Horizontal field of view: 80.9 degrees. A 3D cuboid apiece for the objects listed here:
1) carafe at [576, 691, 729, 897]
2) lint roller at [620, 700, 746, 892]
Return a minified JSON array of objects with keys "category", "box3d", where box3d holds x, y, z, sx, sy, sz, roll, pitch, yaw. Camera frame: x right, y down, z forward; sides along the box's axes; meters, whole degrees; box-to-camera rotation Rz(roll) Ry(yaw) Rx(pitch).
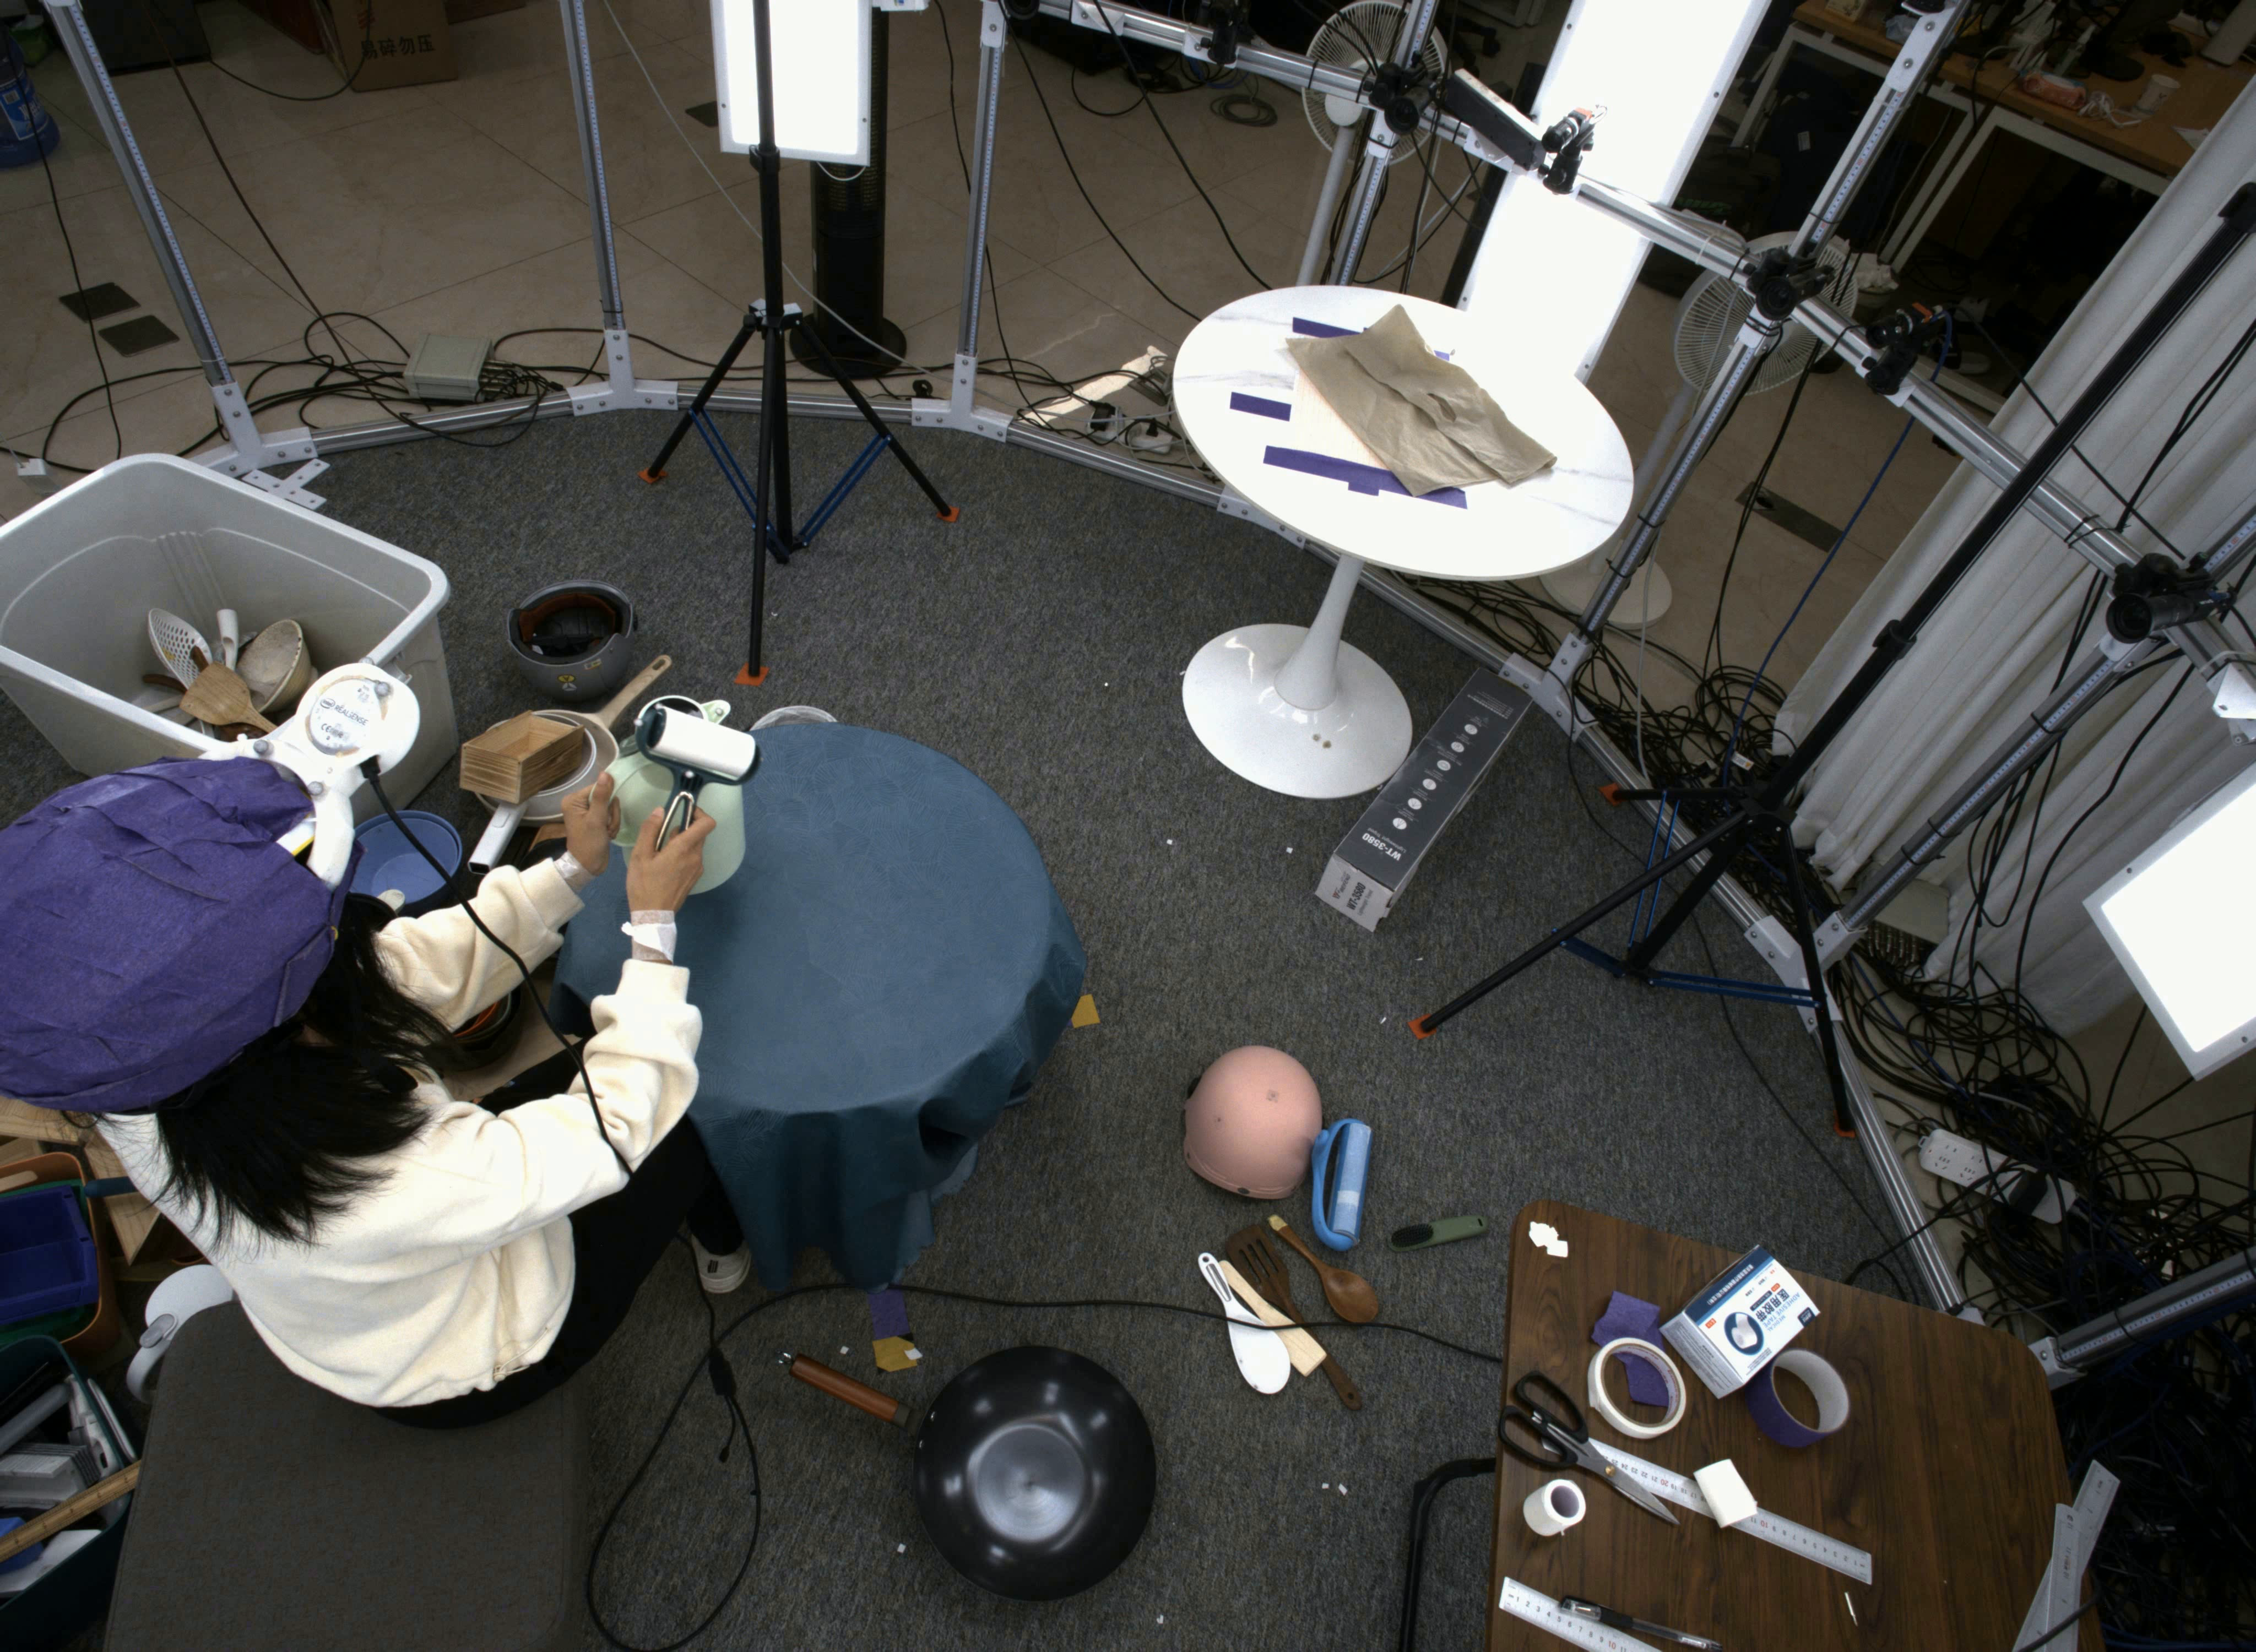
[{"category":"carafe","box3d":[-0.544,-0.035,1.459,0.142,0.261,0.187,39,57,14]},{"category":"lint roller","box3d":[-0.464,-0.025,1.295,0.138,0.047,0.181,20,77,-42]}]
